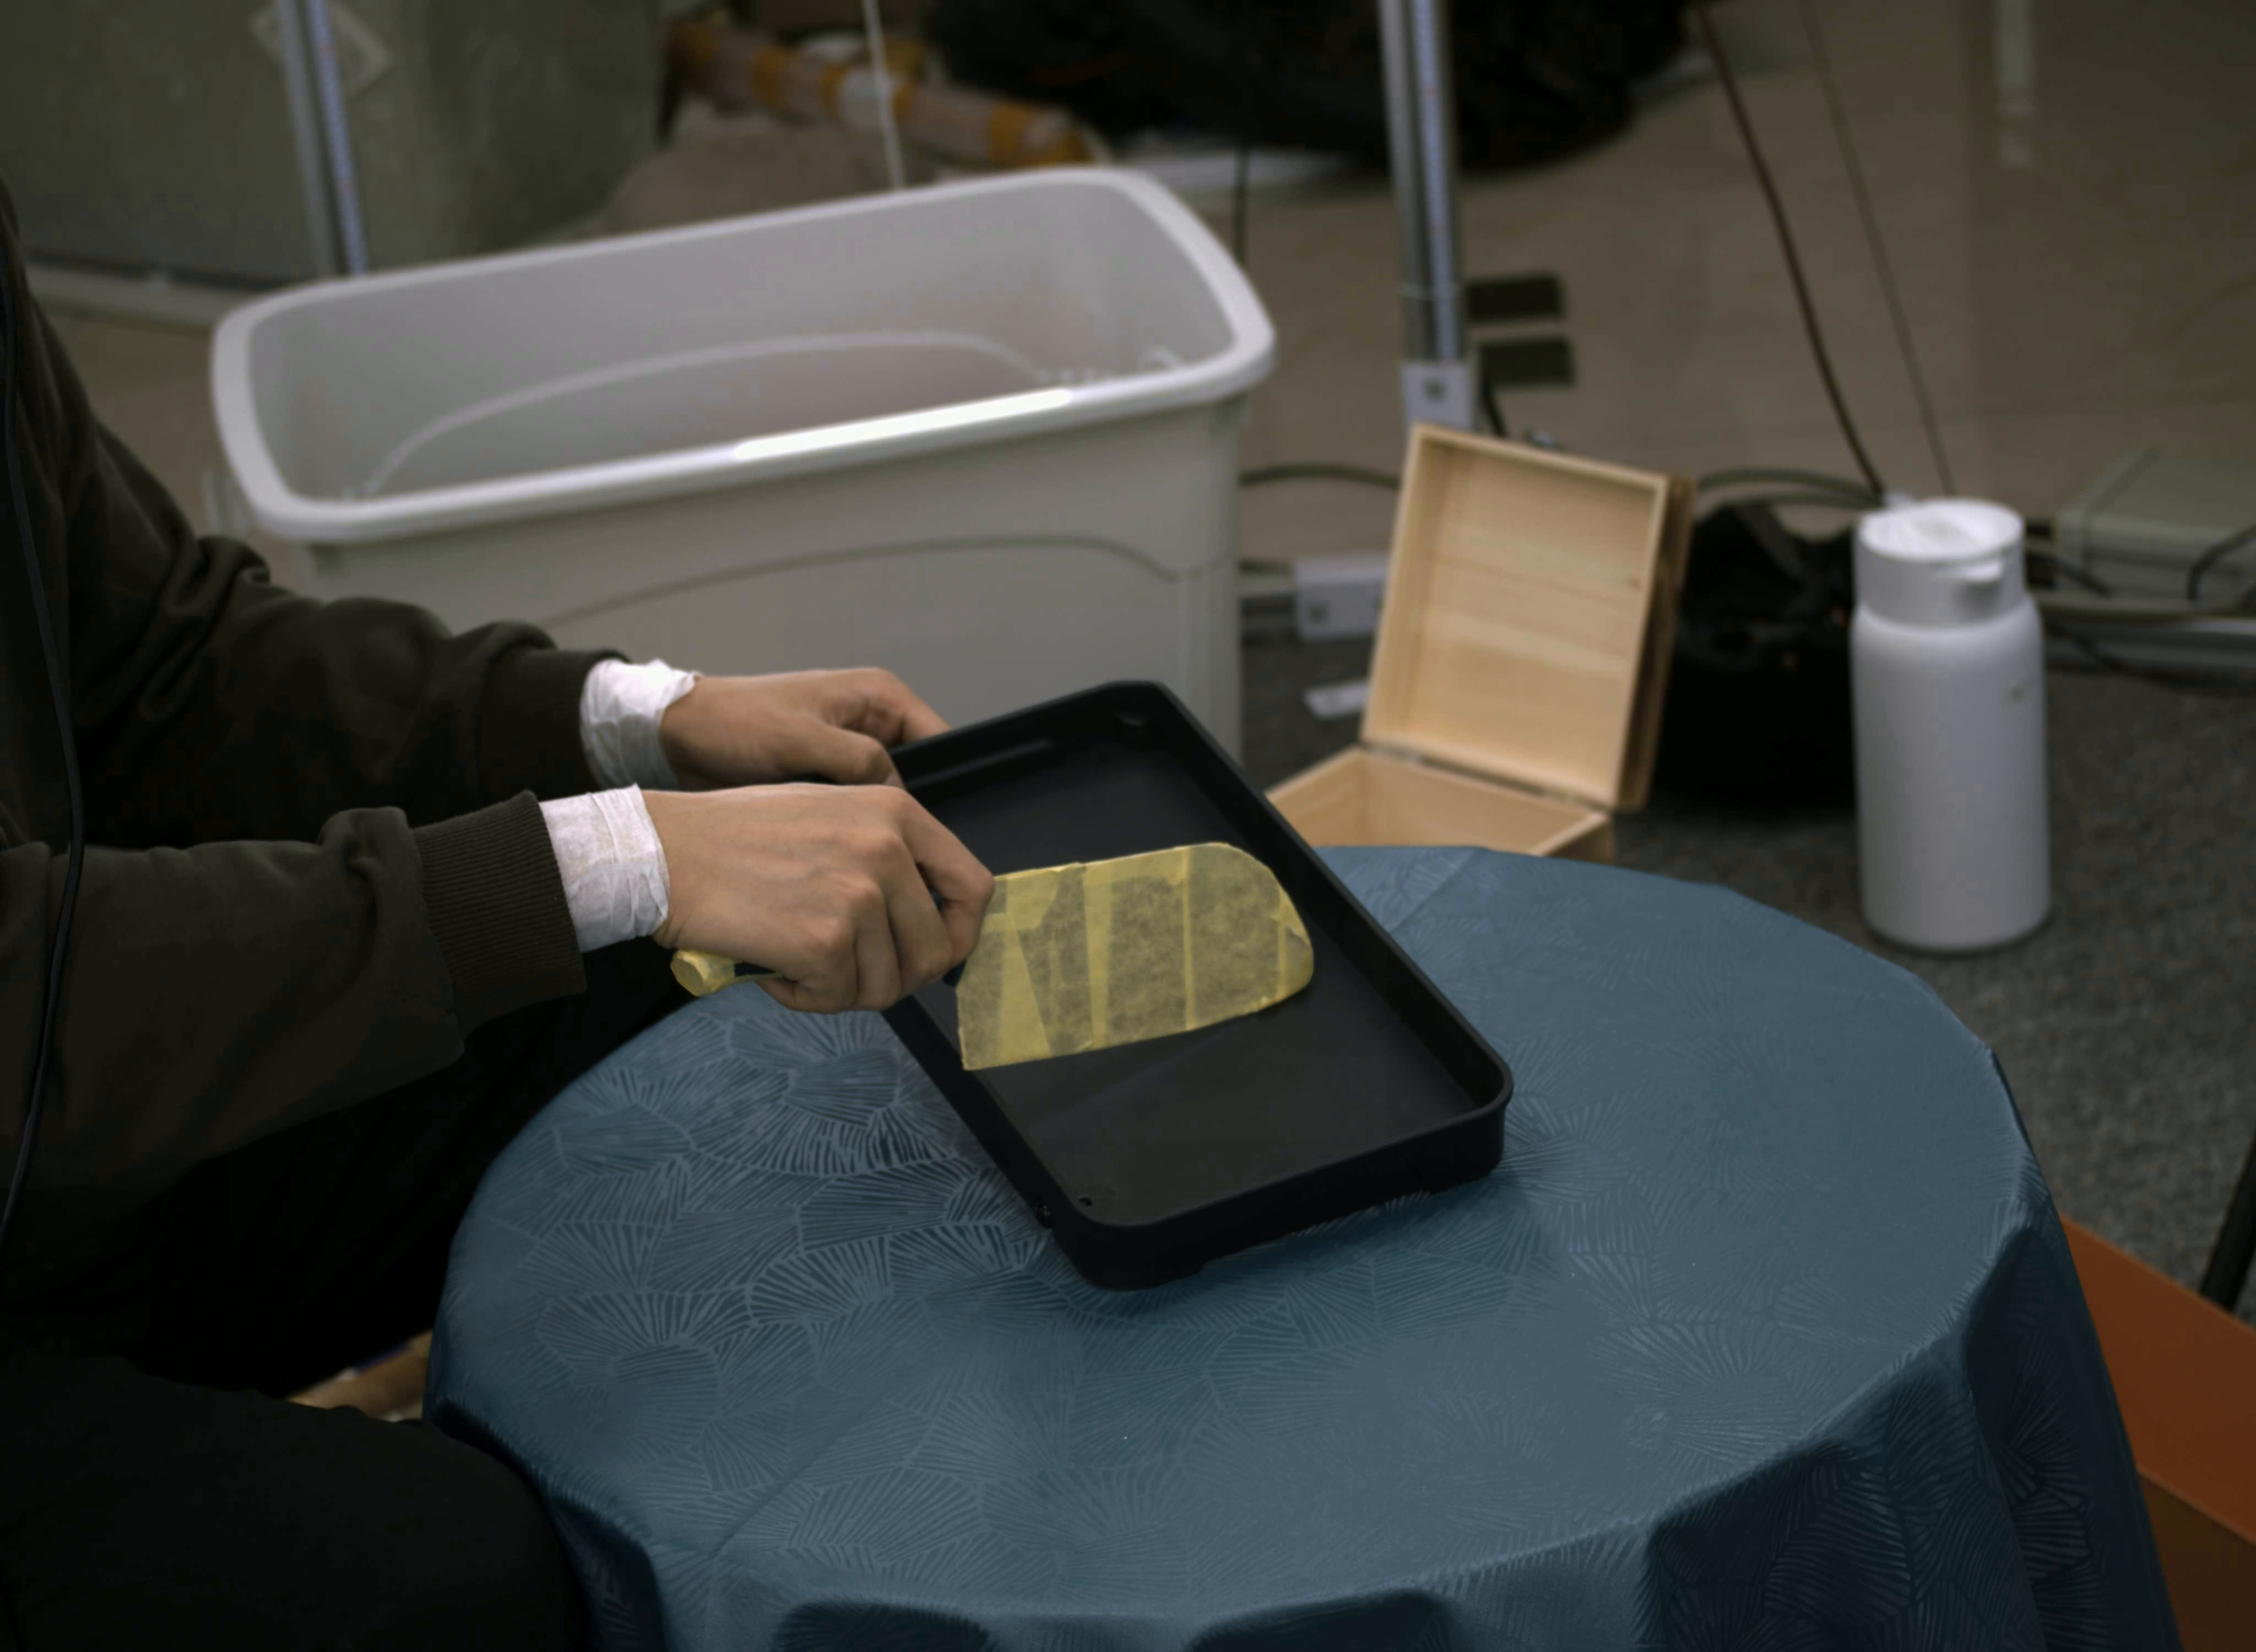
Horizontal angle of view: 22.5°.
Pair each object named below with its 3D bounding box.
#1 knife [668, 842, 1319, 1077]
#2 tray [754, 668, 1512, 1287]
[{"bbox_3d":[-0.045,0.053,2.132,0.289,0.081,0.027,-5,7,-33],"label":"knife"},{"bbox_3d":[-0.002,0.053,2.211,0.183,0.038,0.313,-19,41,-21],"label":"tray"}]
